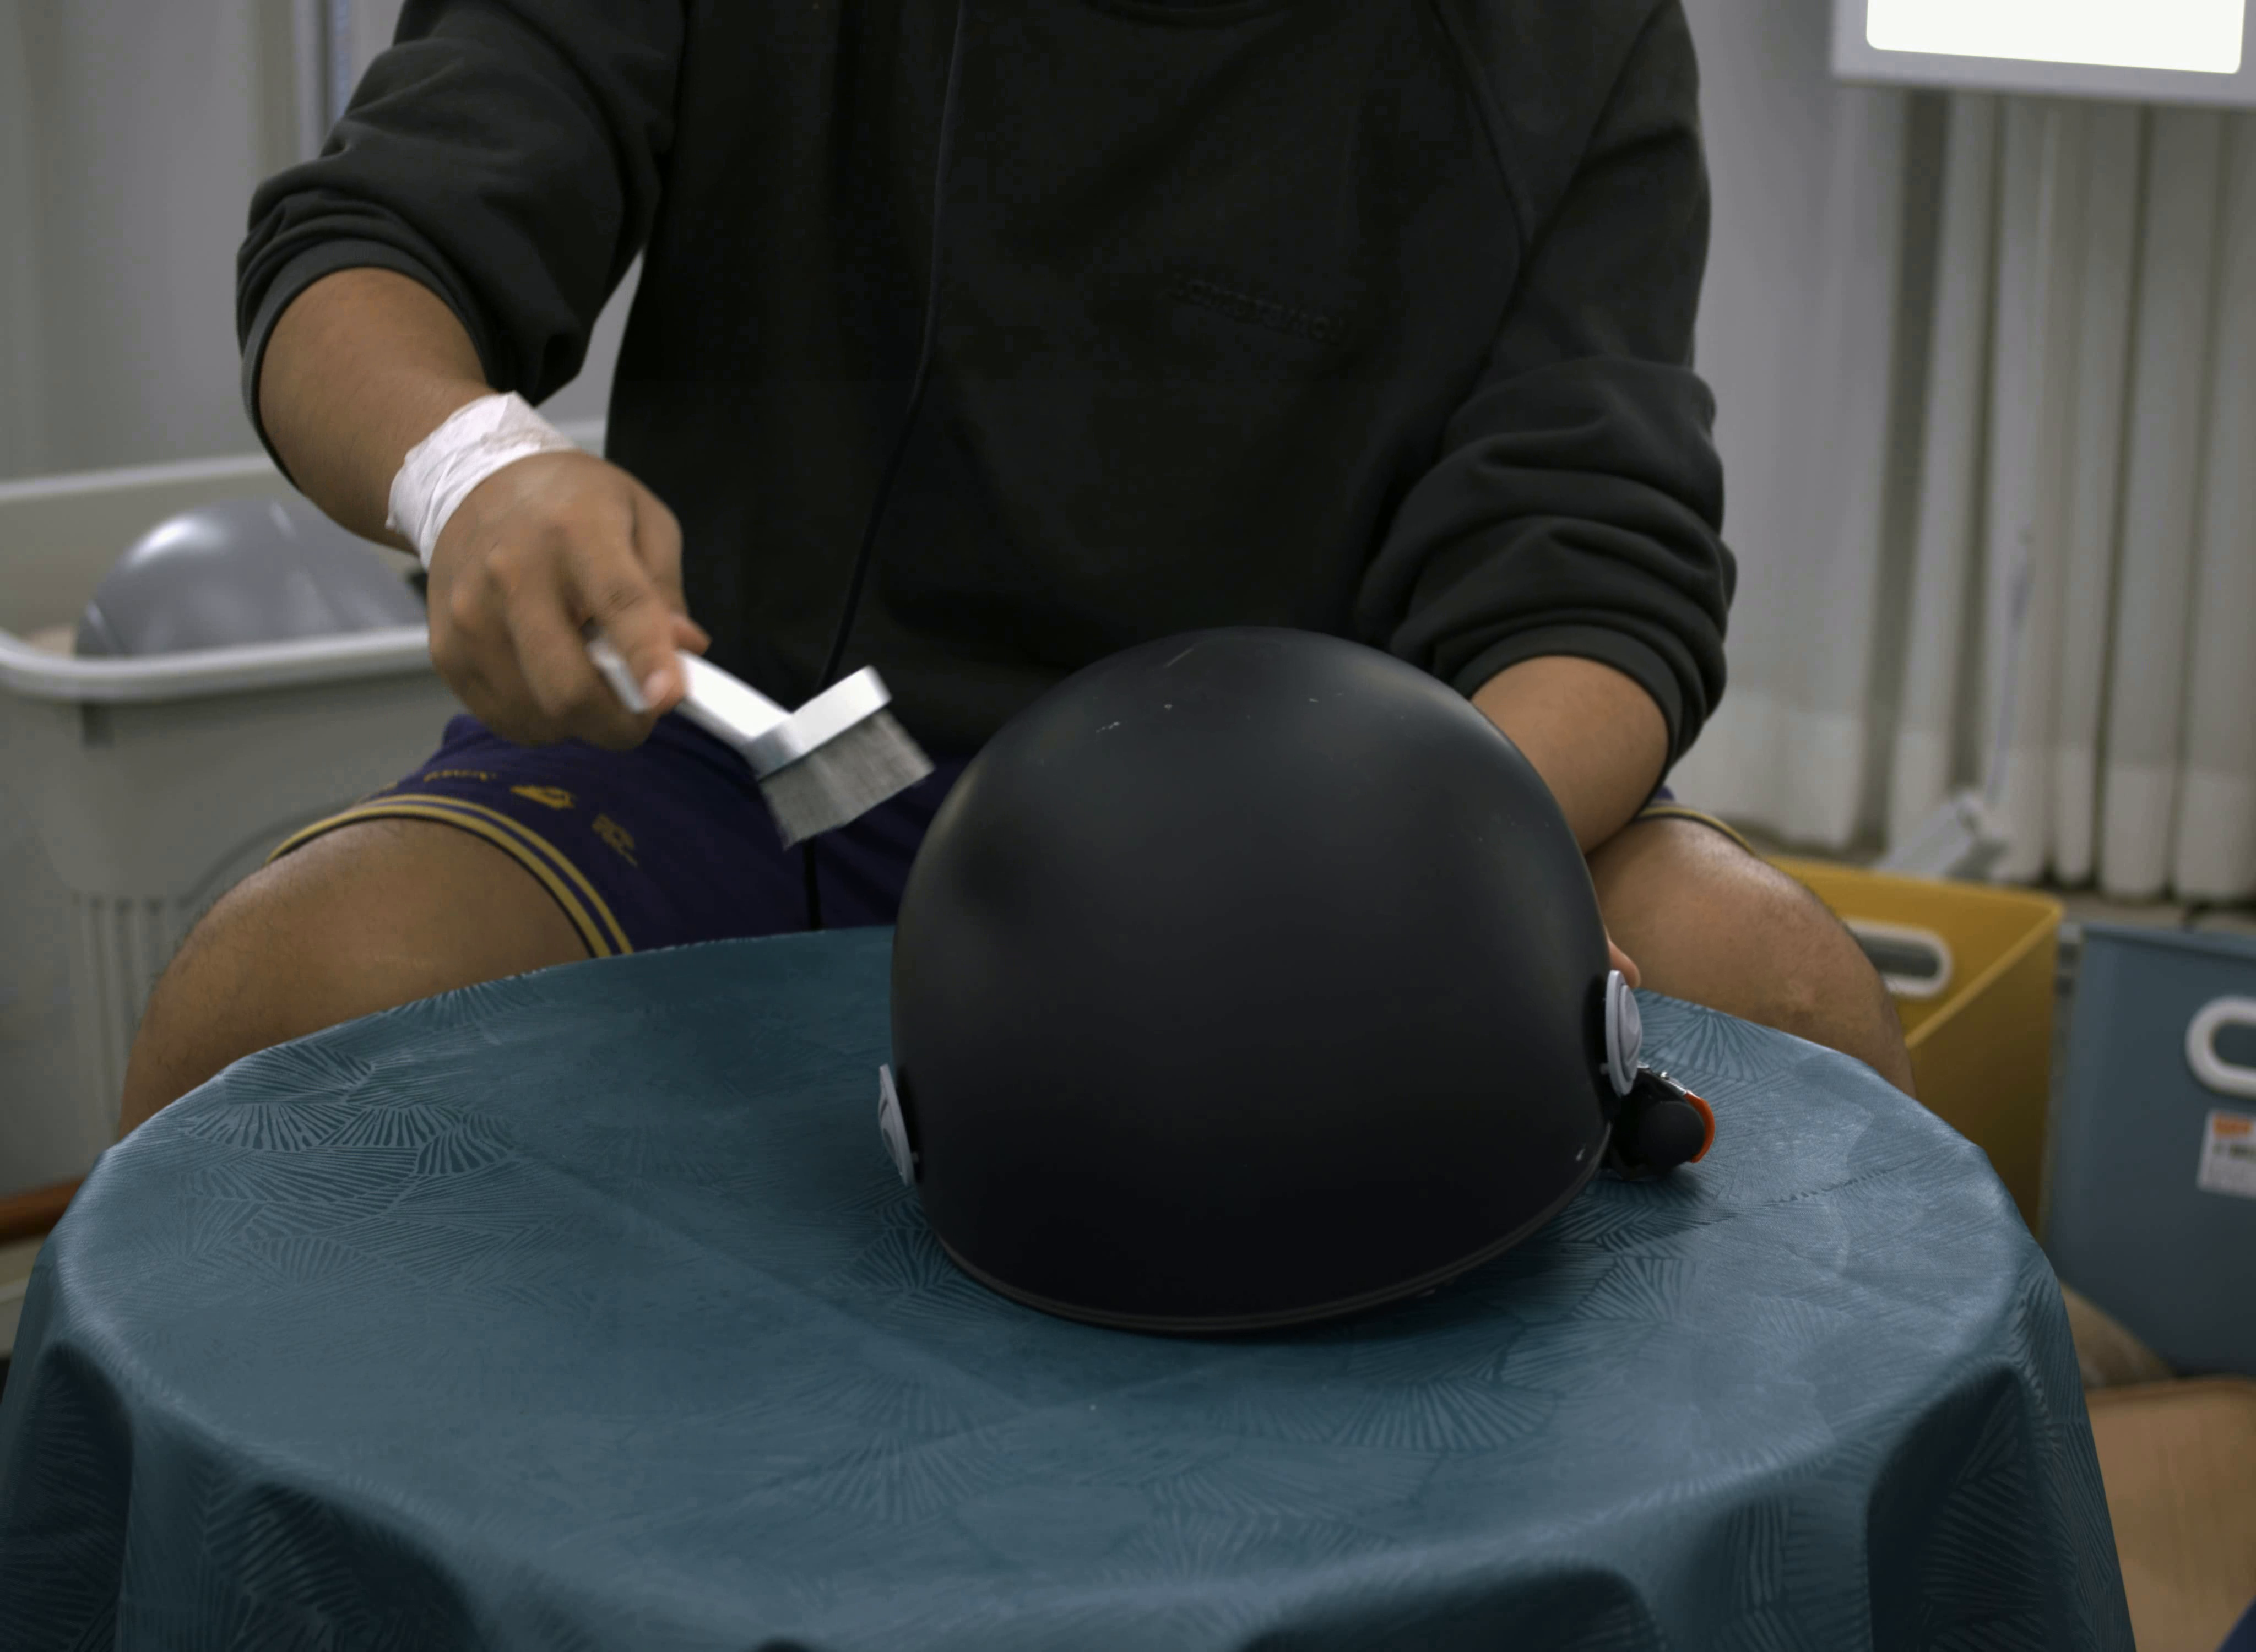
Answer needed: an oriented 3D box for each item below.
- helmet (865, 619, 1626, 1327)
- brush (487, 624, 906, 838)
[{"bbox_3d":[0.031,0.029,1.593,0.229,0.168,0.271,-8,20,6],"label":"helmet"},{"bbox_3d":[-0.134,-0.030,1.603,0.034,0.051,0.241,-34,21,-21],"label":"brush"}]
